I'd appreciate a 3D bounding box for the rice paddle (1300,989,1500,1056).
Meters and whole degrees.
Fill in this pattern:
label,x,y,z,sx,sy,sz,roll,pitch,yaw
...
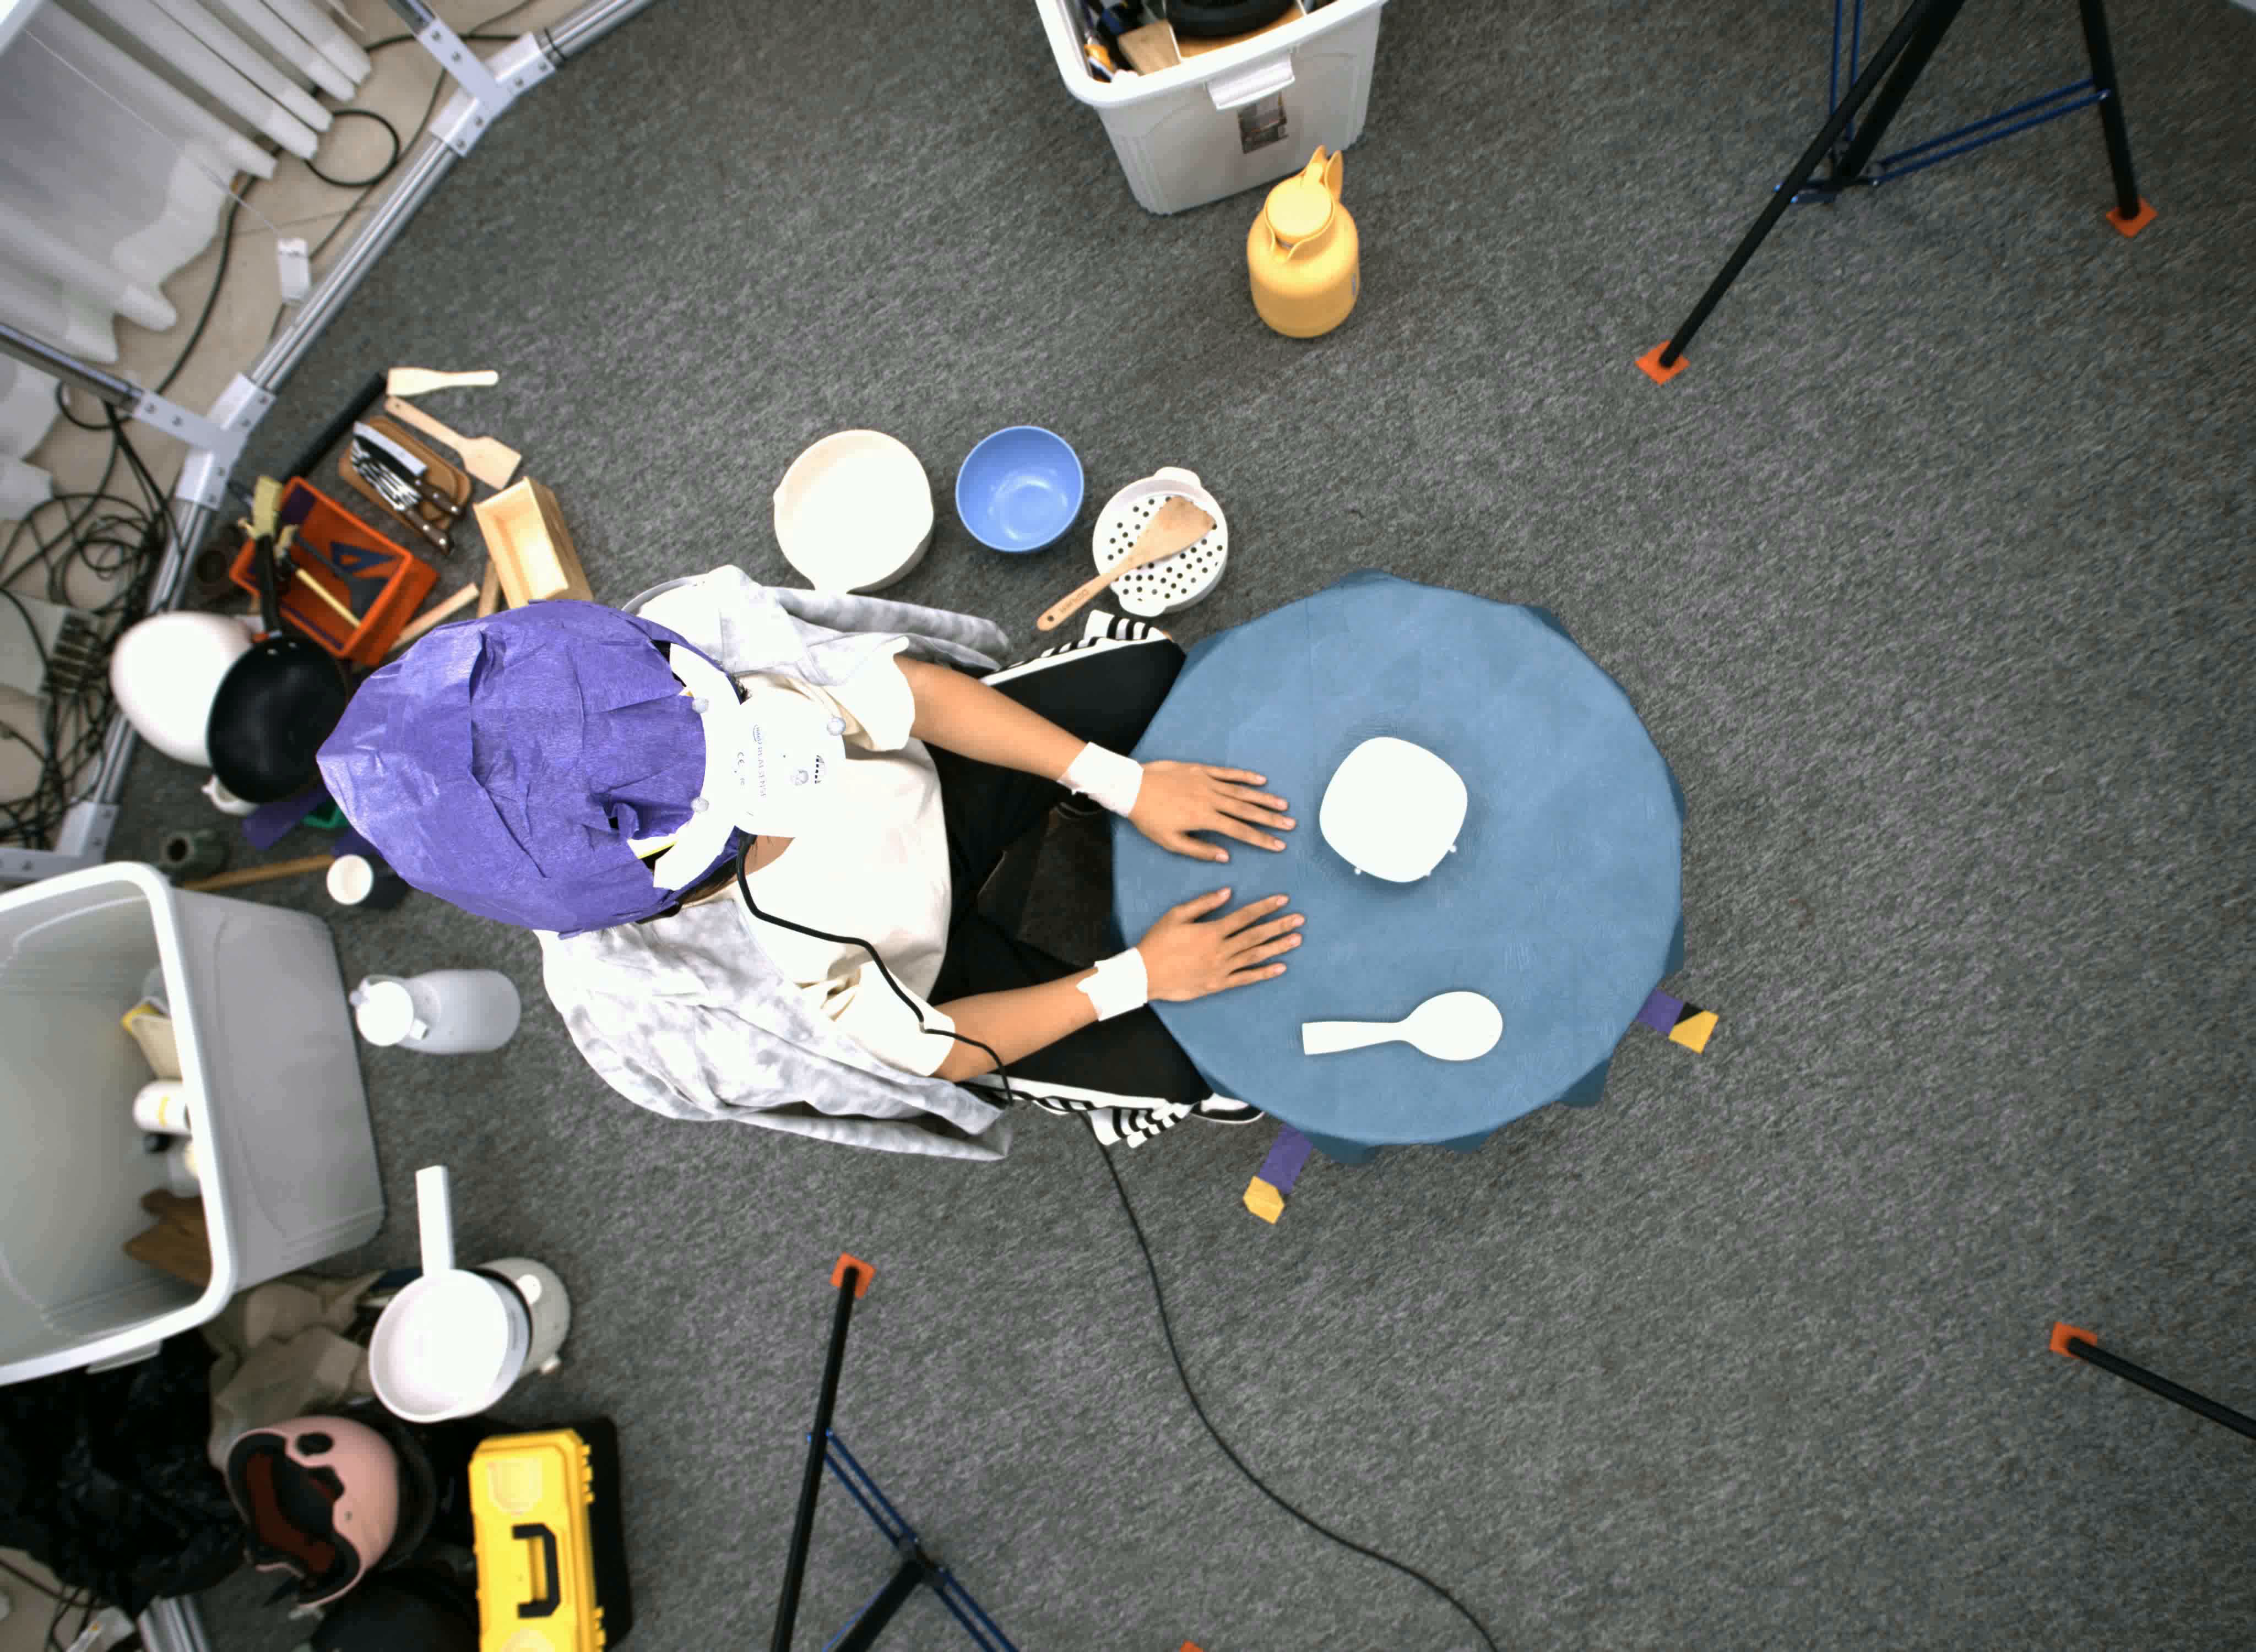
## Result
label,x,y,z,sx,sy,sz,roll,pitch,yaw
rice paddle,0.282,0.208,1.433,0.206,0.029,0.068,-7,86,10

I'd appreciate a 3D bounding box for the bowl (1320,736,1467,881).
label,x,y,z,sx,sy,sz,roll,pitch,yaw
bowl,0.274,-0.018,1.433,0.152,0.058,0.151,0,88,8
